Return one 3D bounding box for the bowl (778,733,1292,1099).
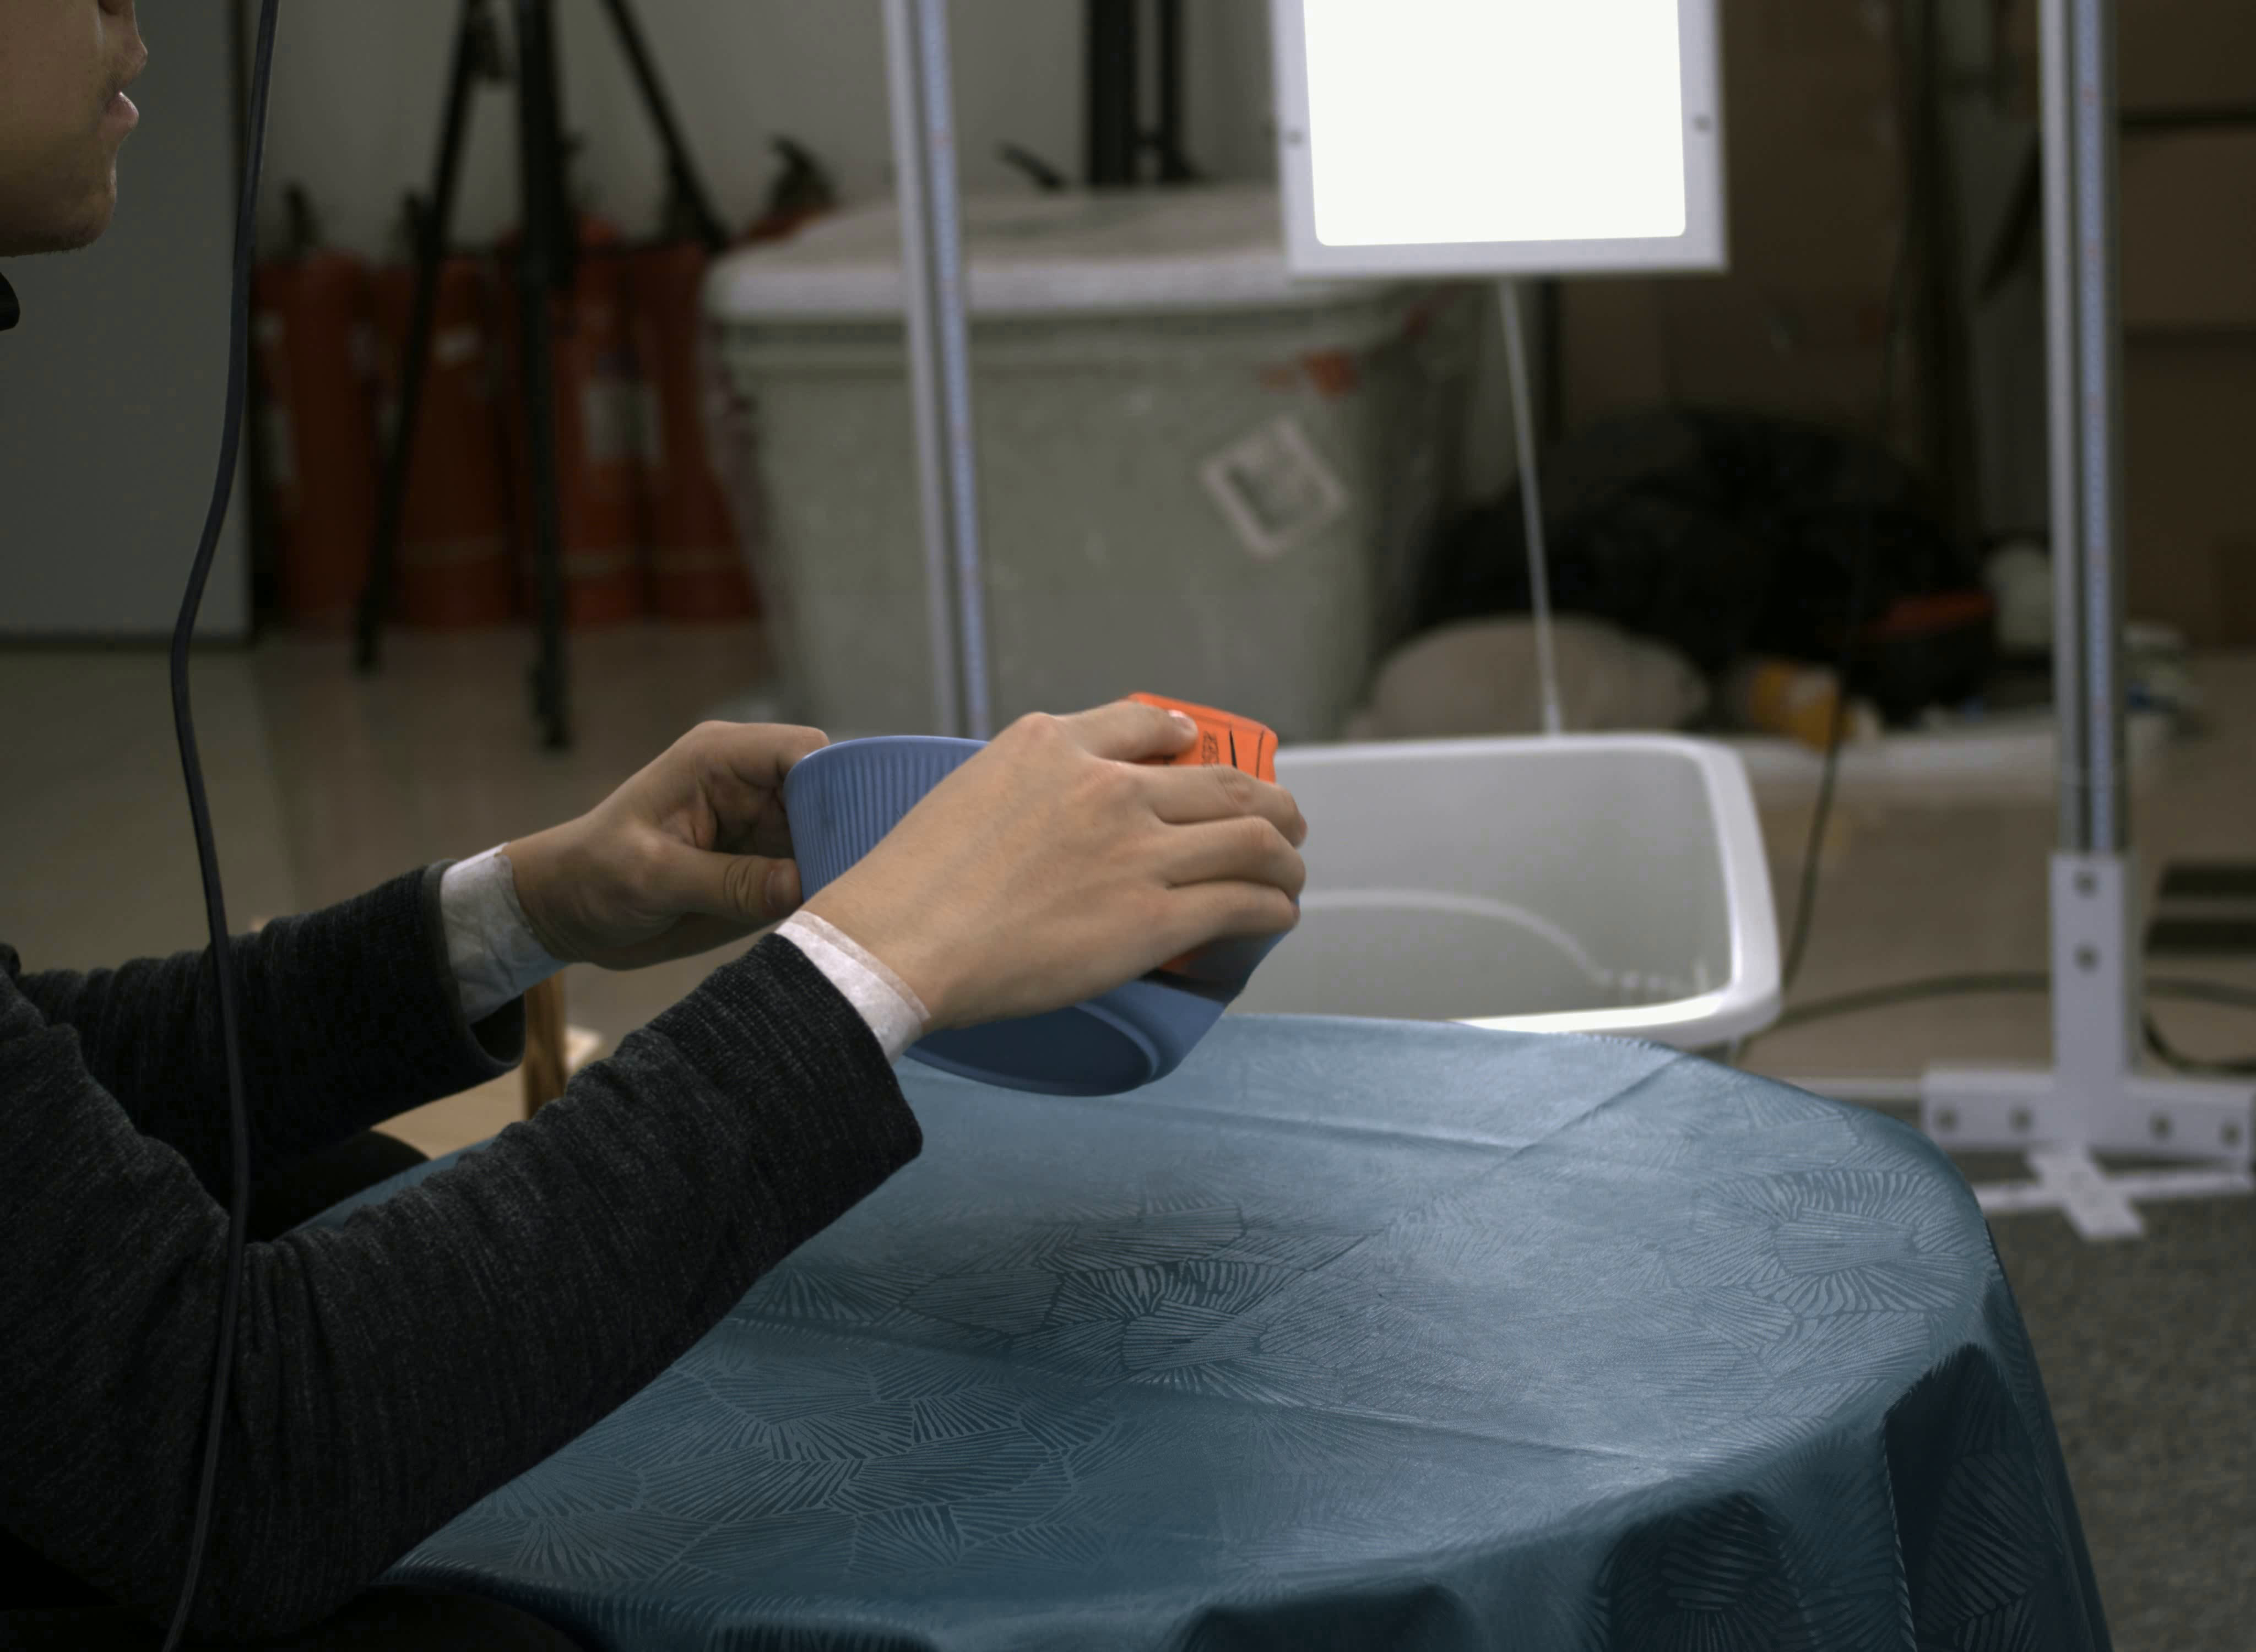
[{"bbox_3d":[-0.038,0.037,1.809,0.176,0.070,0.177,14,-21,4],"label":"bowl"}]

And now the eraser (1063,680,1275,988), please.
[{"bbox_3d":[0.013,0.002,1.705,0.058,0.023,0.107,13,43,-5],"label":"eraser"}]
